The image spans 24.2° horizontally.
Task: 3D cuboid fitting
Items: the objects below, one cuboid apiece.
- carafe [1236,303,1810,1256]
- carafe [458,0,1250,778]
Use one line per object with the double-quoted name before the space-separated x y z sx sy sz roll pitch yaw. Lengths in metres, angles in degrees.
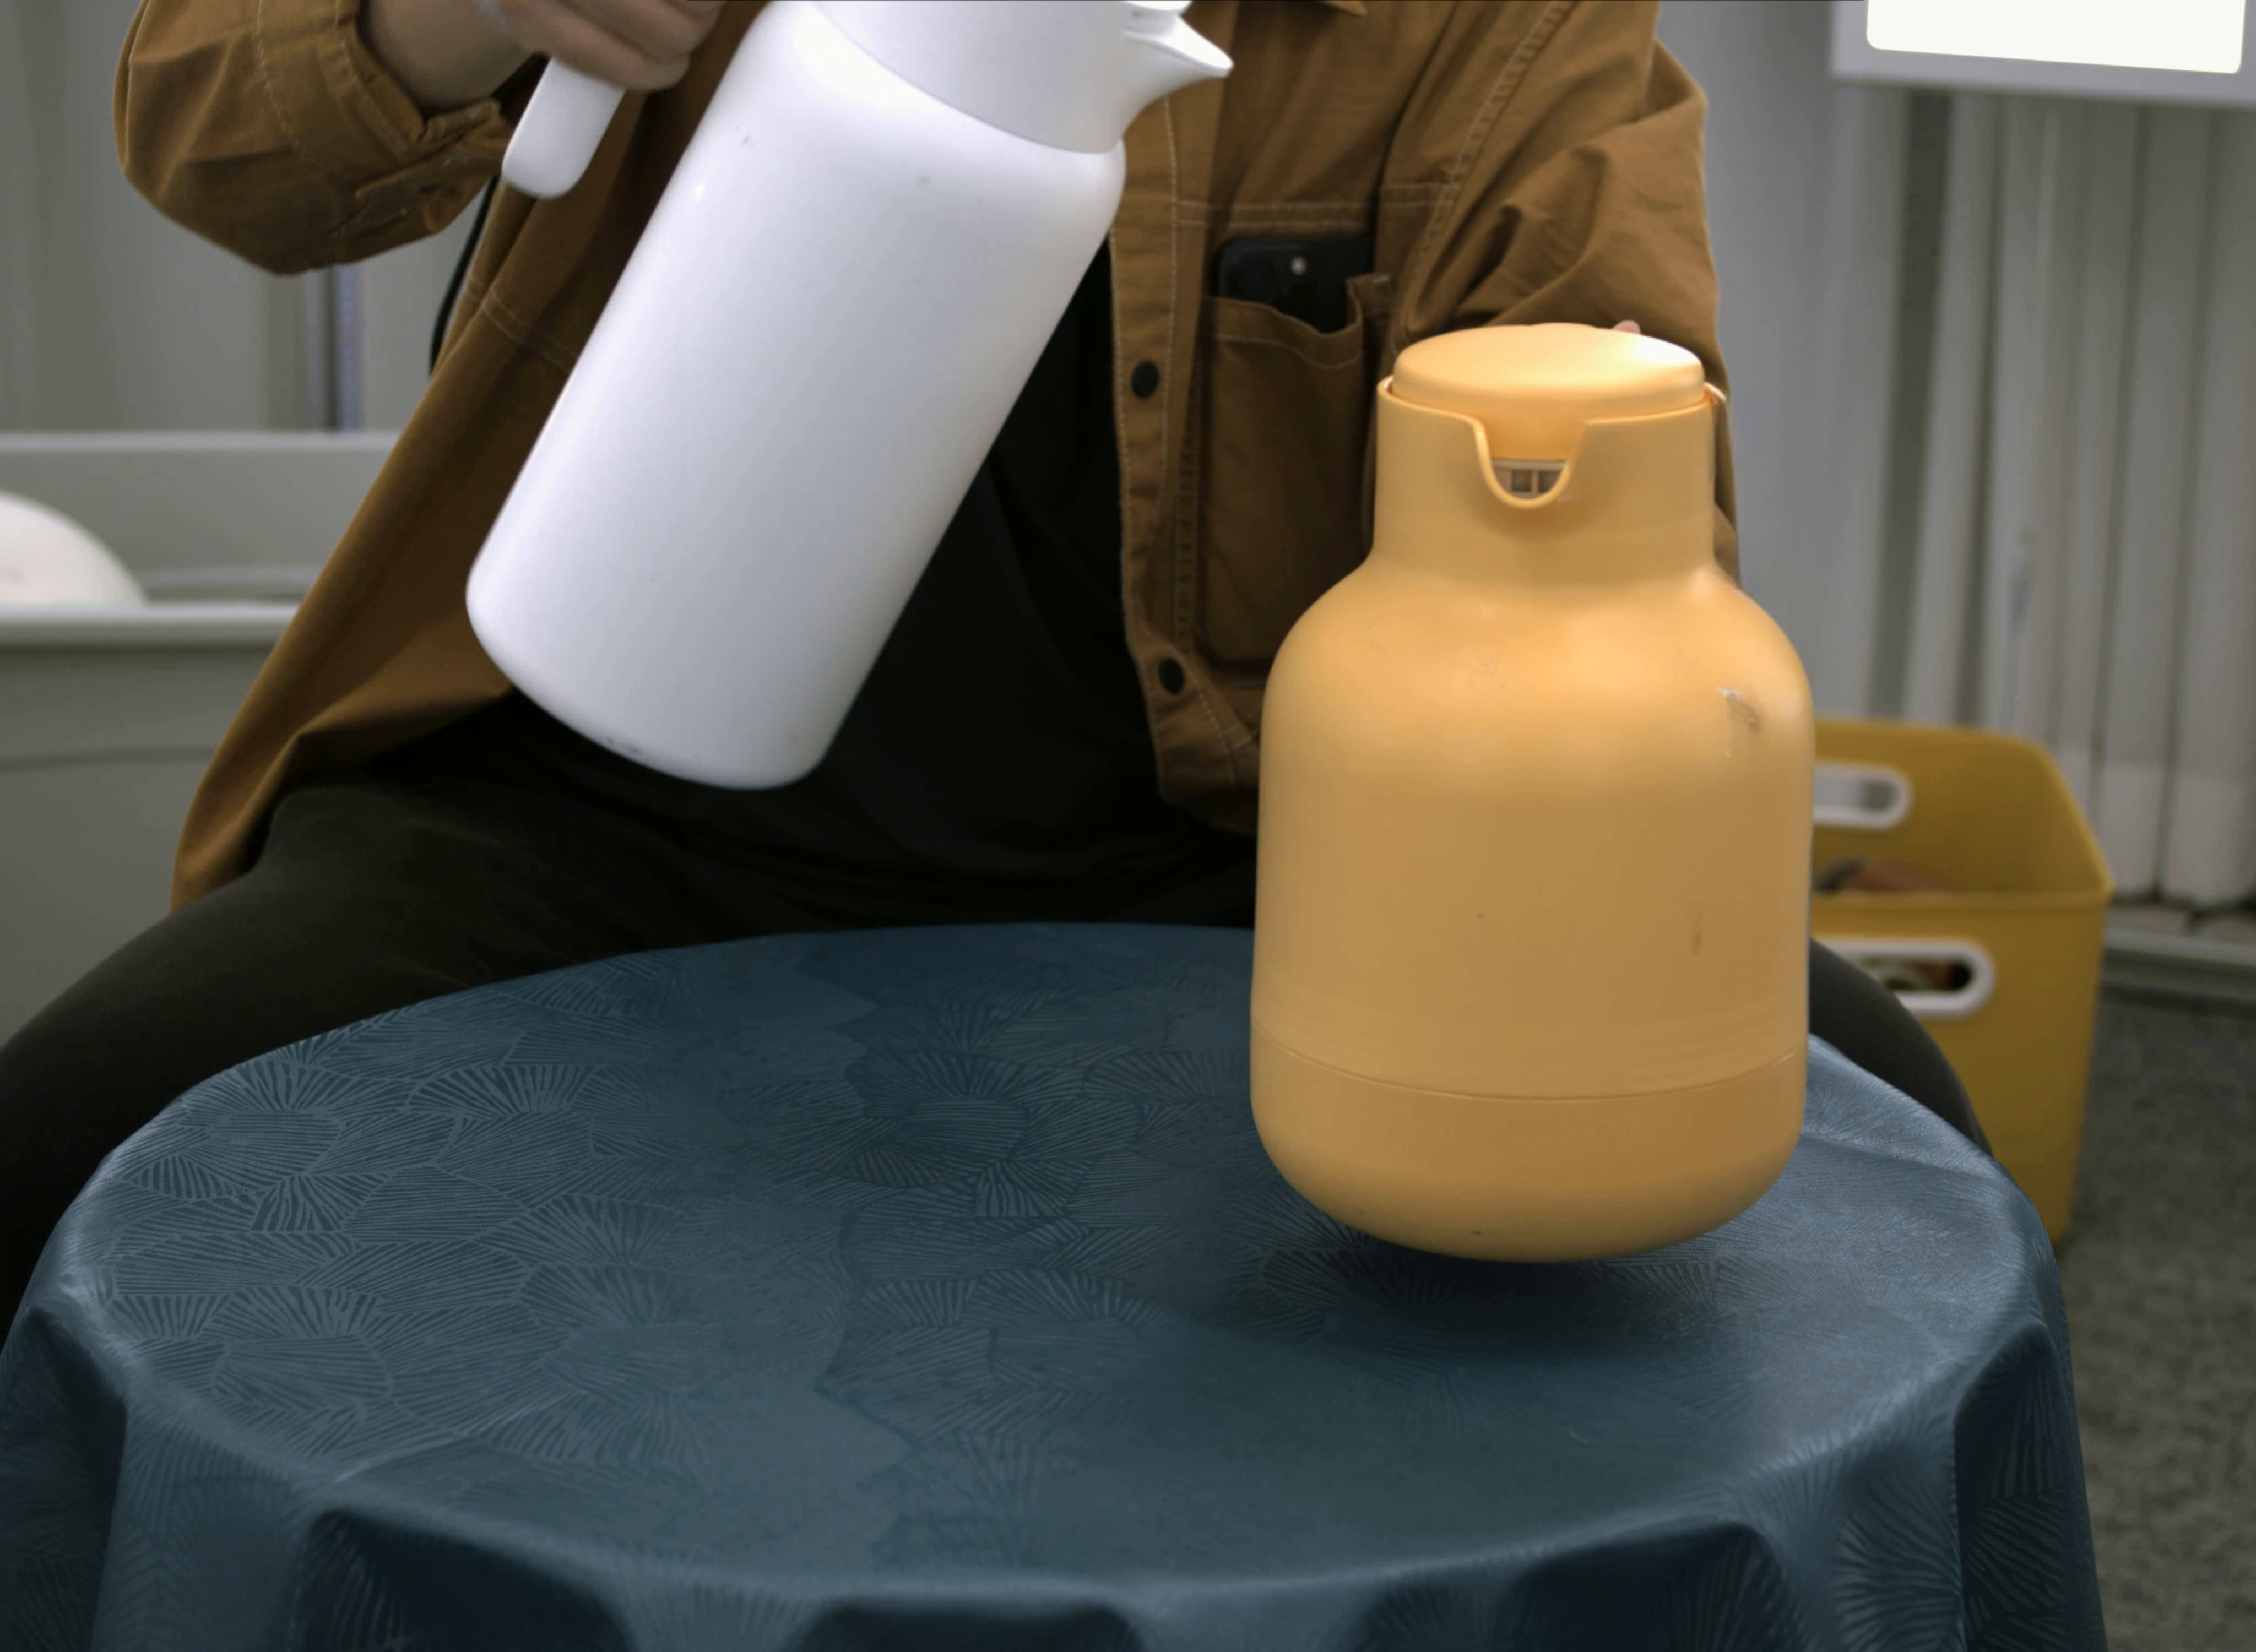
"carafe" 0.121 -0.022 1.535 0.162 0.262 0.202 6 18 10
"carafe" -0.100 -0.160 1.502 0.172 0.270 0.123 31 23 2
